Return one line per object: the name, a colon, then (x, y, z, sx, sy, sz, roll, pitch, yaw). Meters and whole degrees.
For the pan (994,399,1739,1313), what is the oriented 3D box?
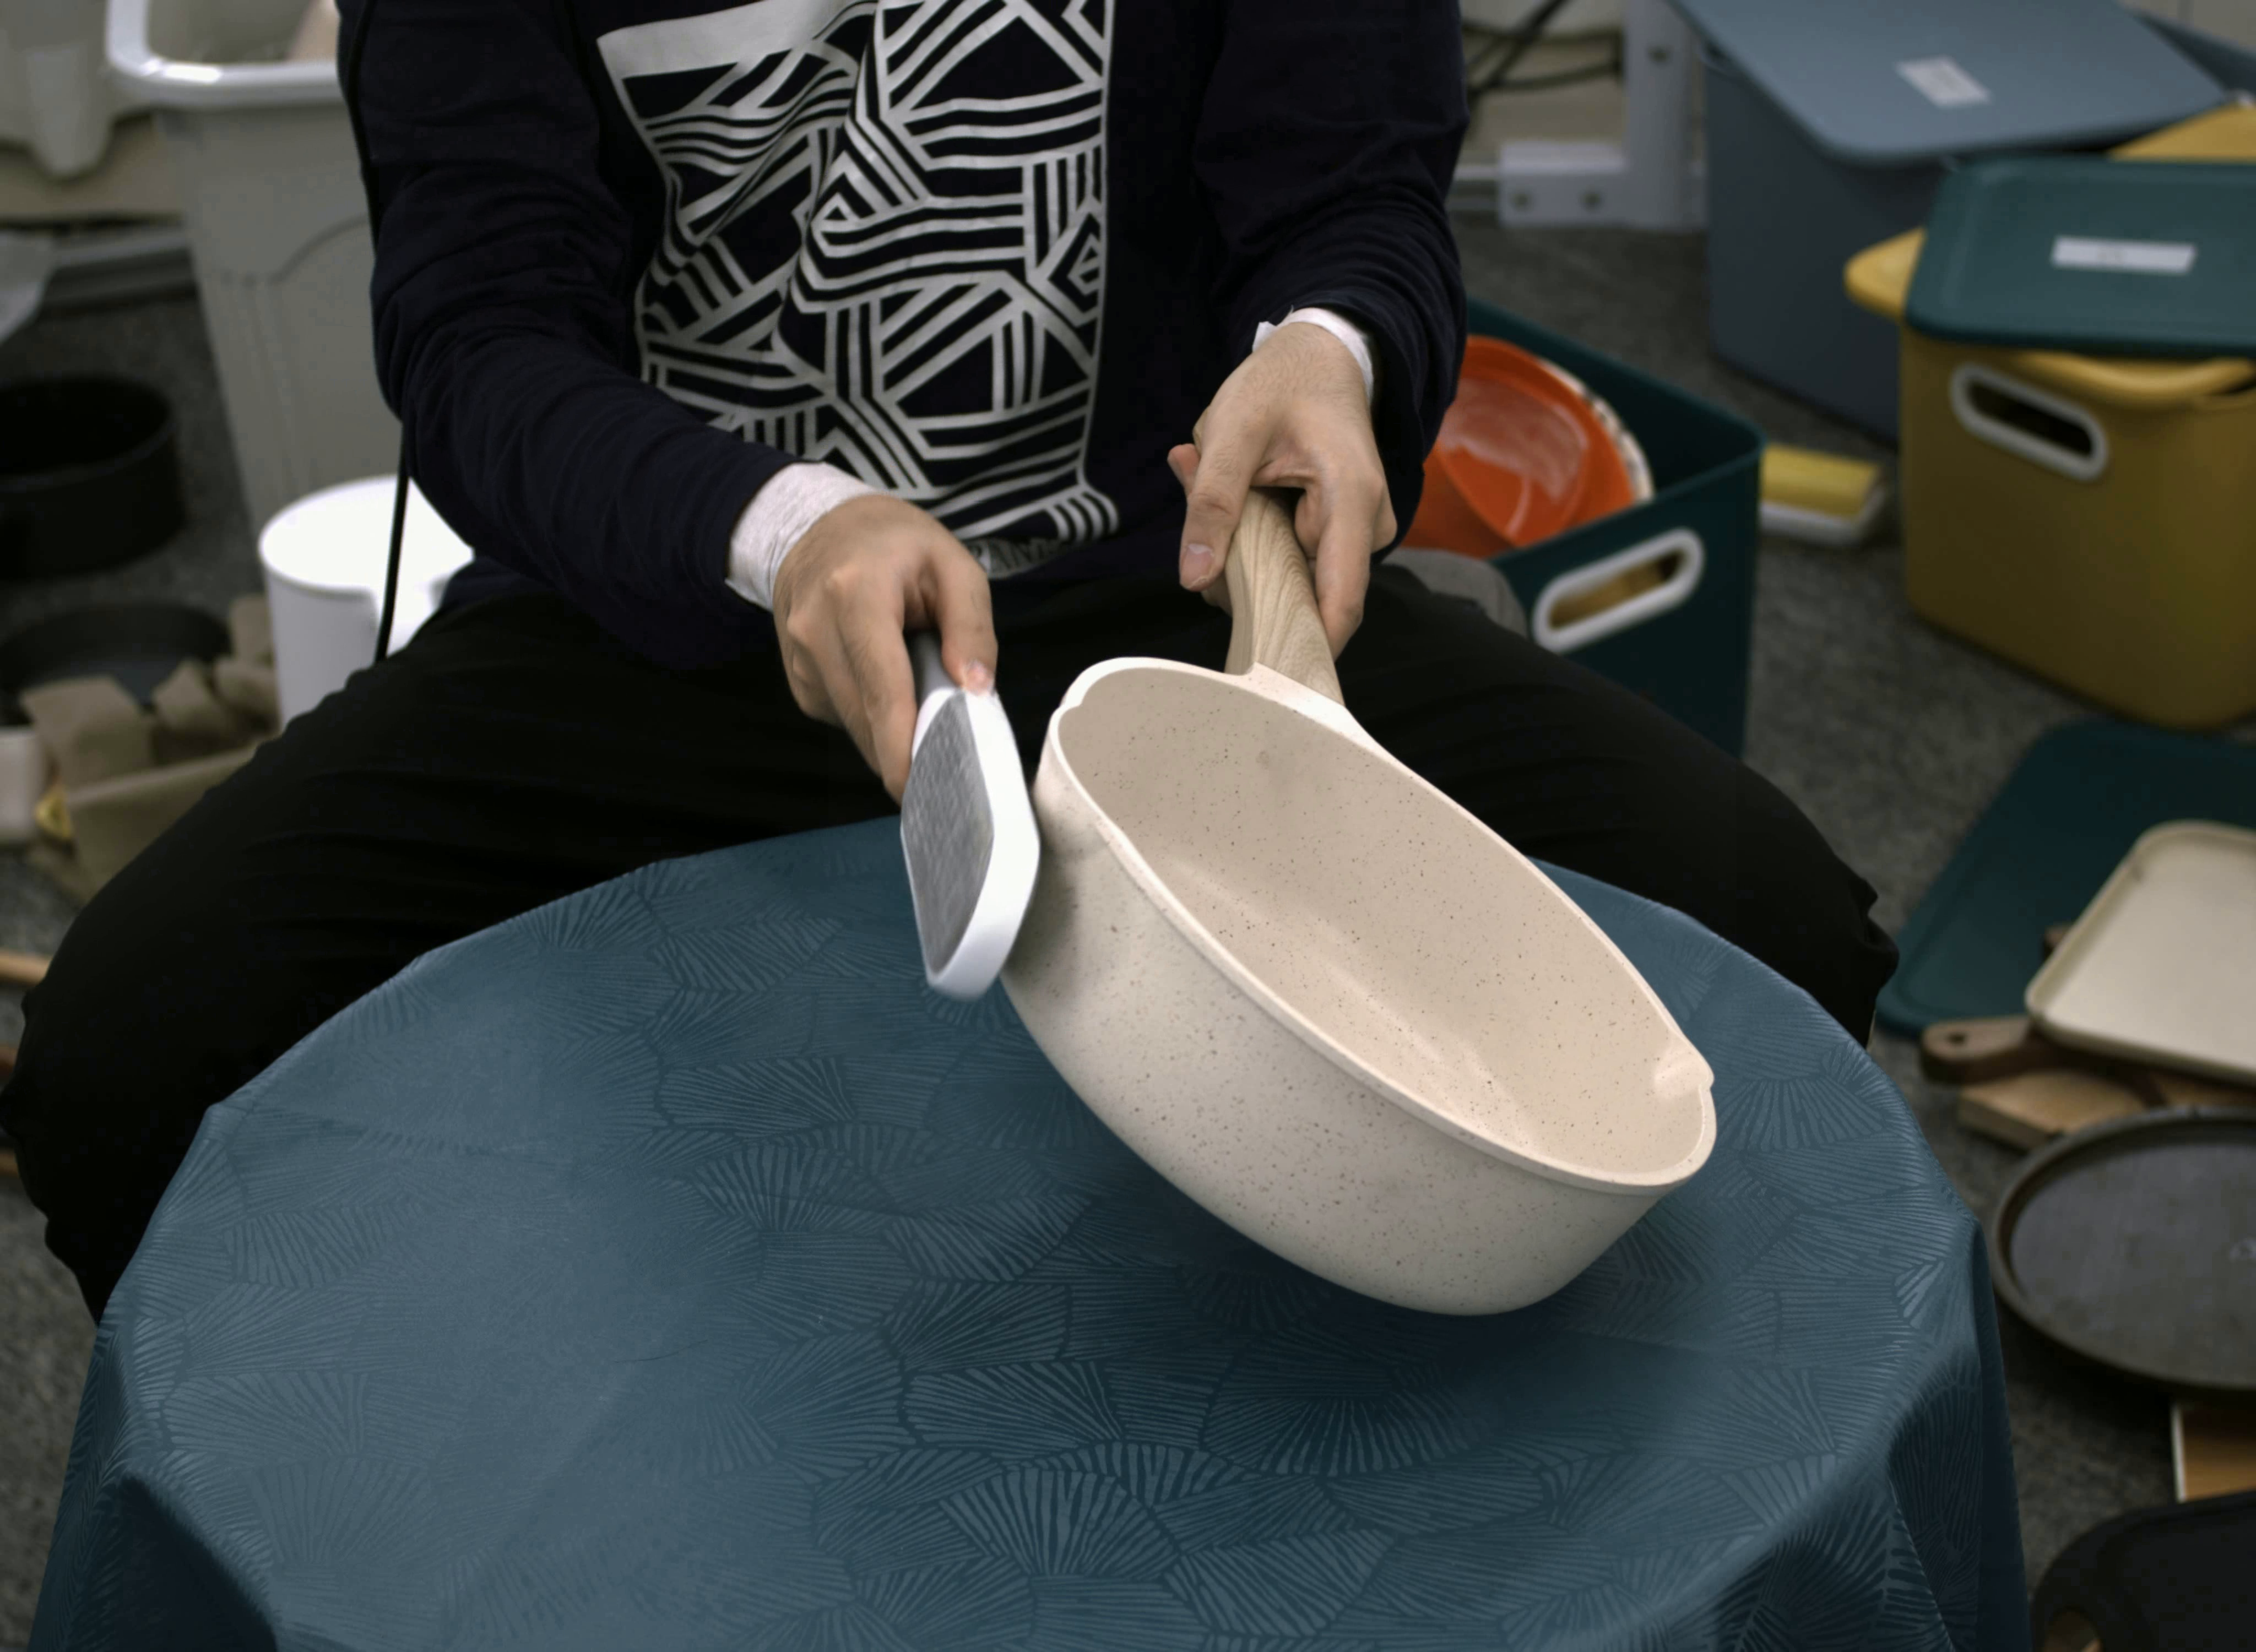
pan: (0.054, 0.003, 1.865, 0.262, 0.101, 0.441, 23, 24, -24)

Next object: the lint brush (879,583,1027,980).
lint brush: (-0.060, -0.024, 1.825, 0.021, 0.059, 0.312, 18, 16, -13)
